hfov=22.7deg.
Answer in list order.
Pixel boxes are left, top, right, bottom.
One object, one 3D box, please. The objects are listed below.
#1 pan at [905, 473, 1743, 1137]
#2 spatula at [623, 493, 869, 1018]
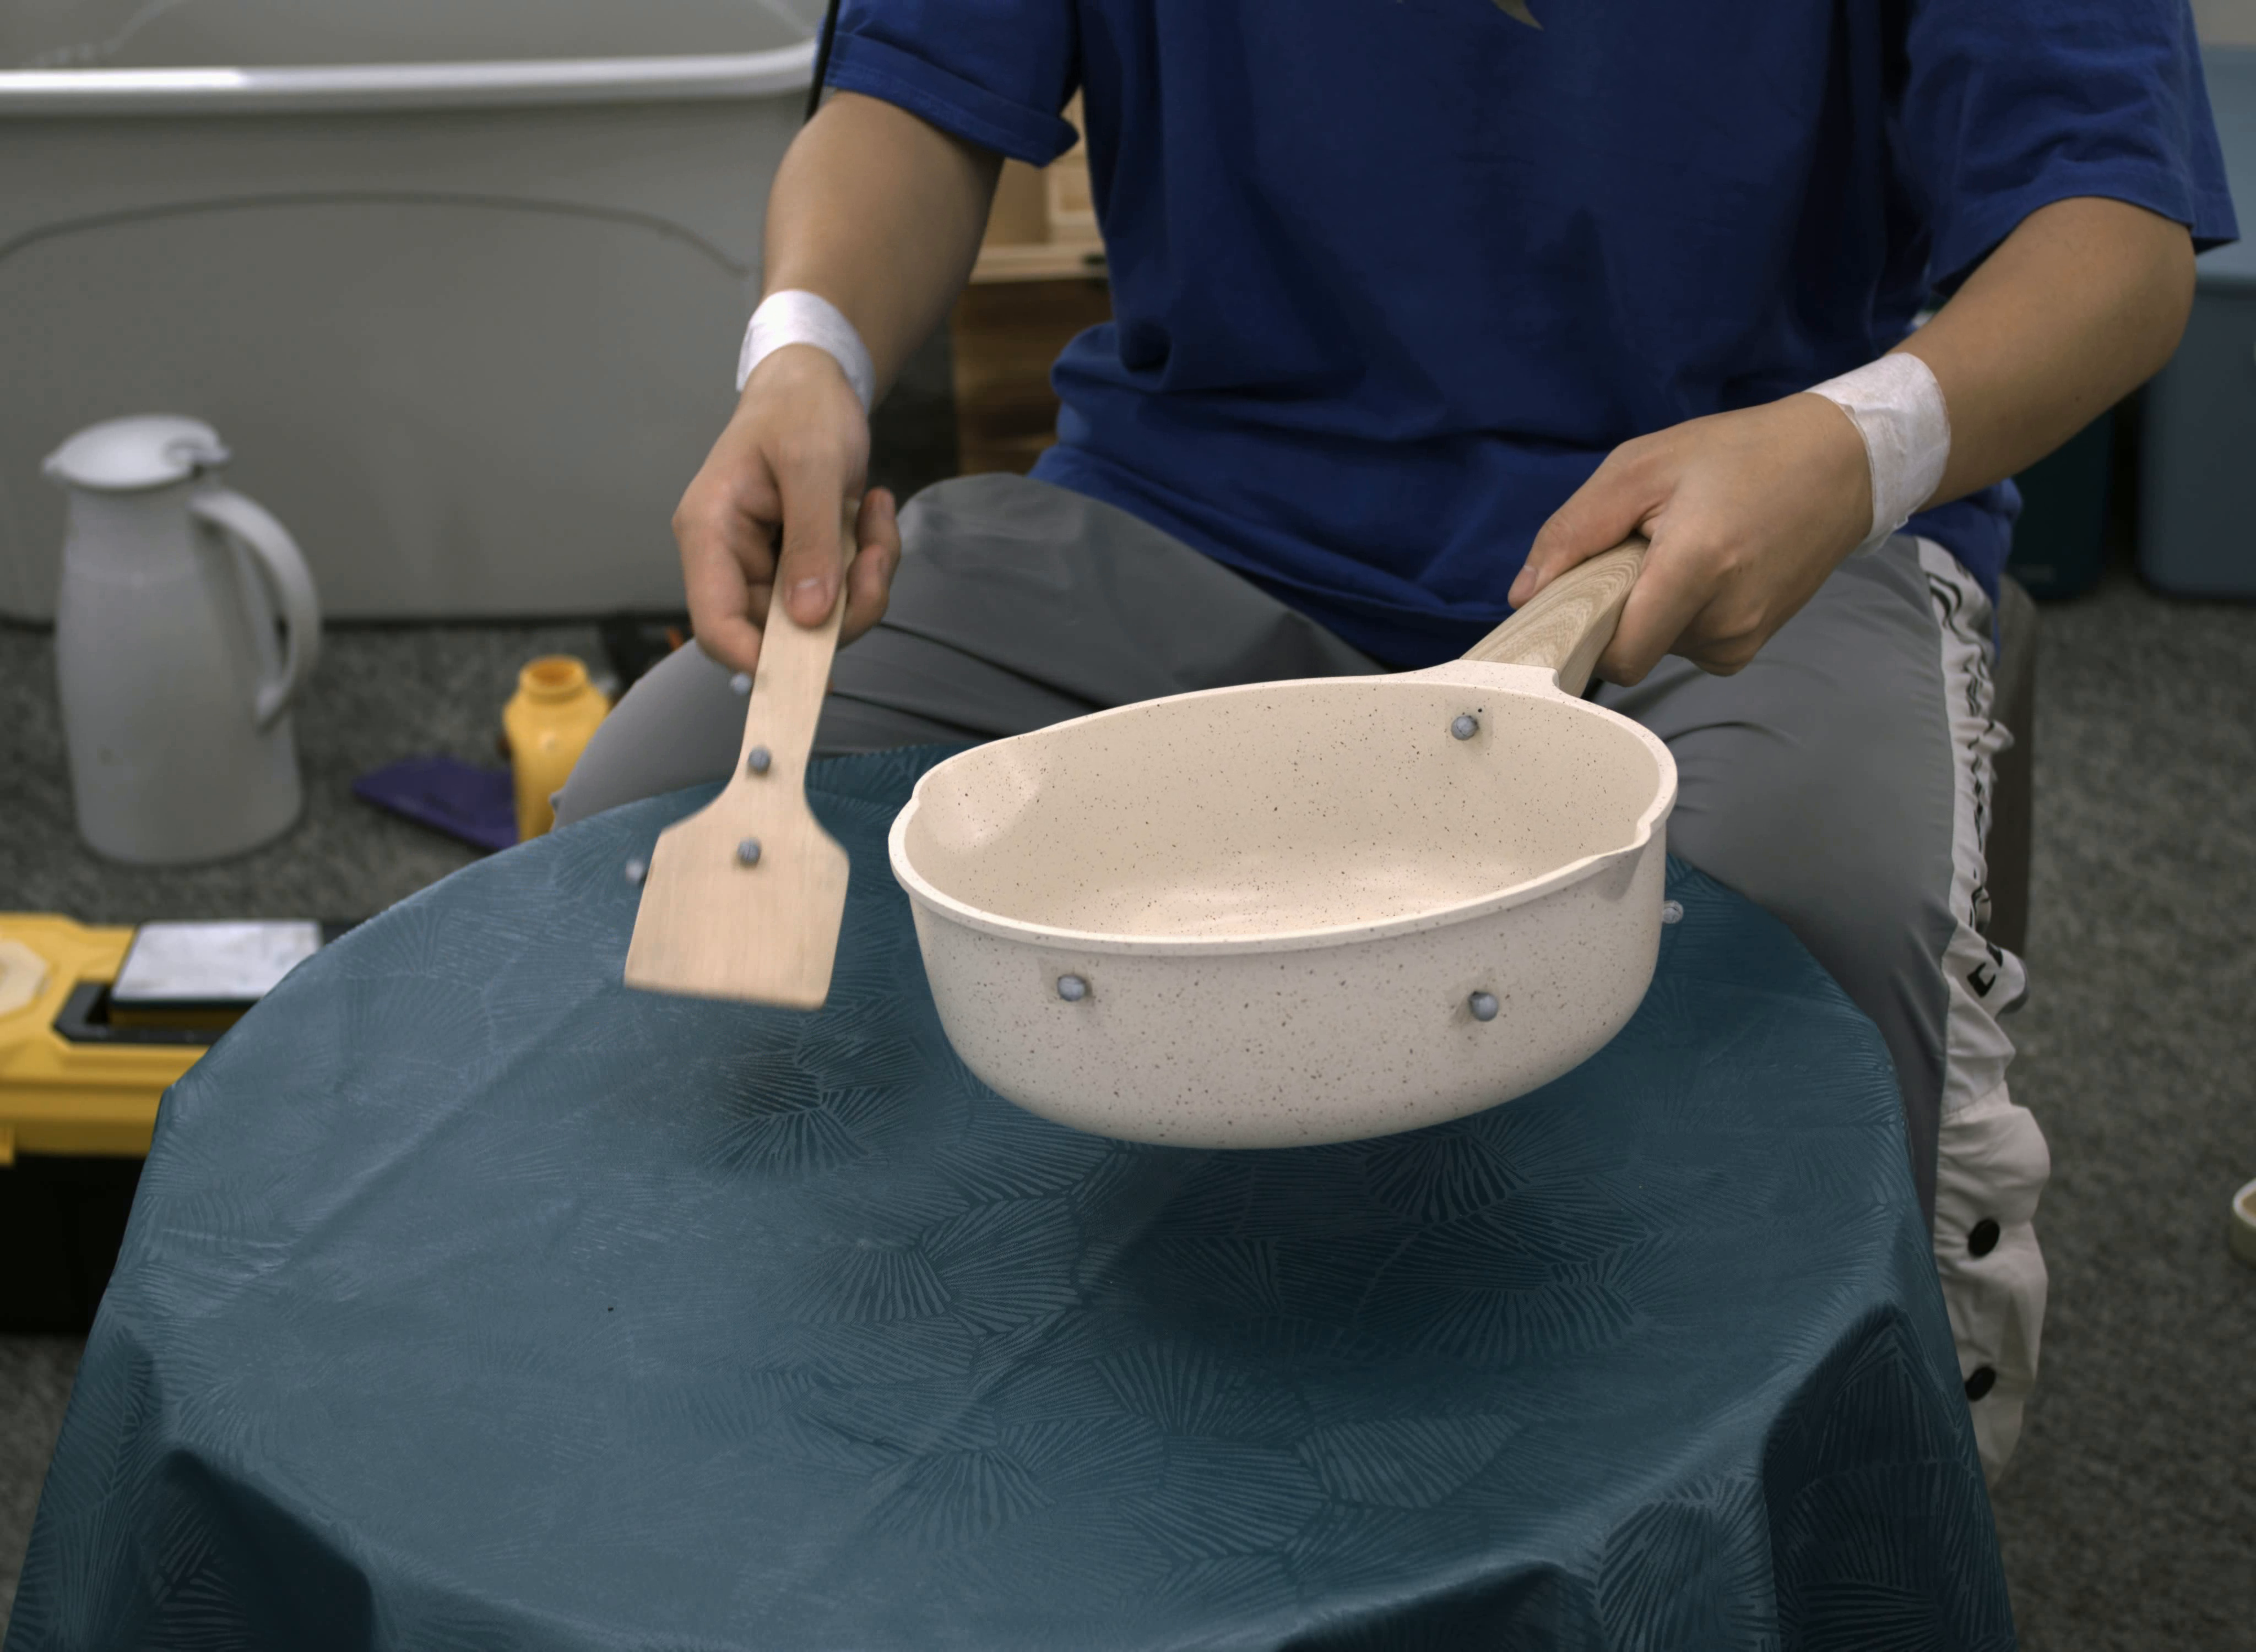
[{"bbox_3d":[0.105,-0.009,1.863,0.261,0.101,0.441,4,21,32],"label":"pan"},{"bbox_3d":[-0.125,-0.030,2.006,0.072,0.010,0.299,6,39,1],"label":"spatula"}]
